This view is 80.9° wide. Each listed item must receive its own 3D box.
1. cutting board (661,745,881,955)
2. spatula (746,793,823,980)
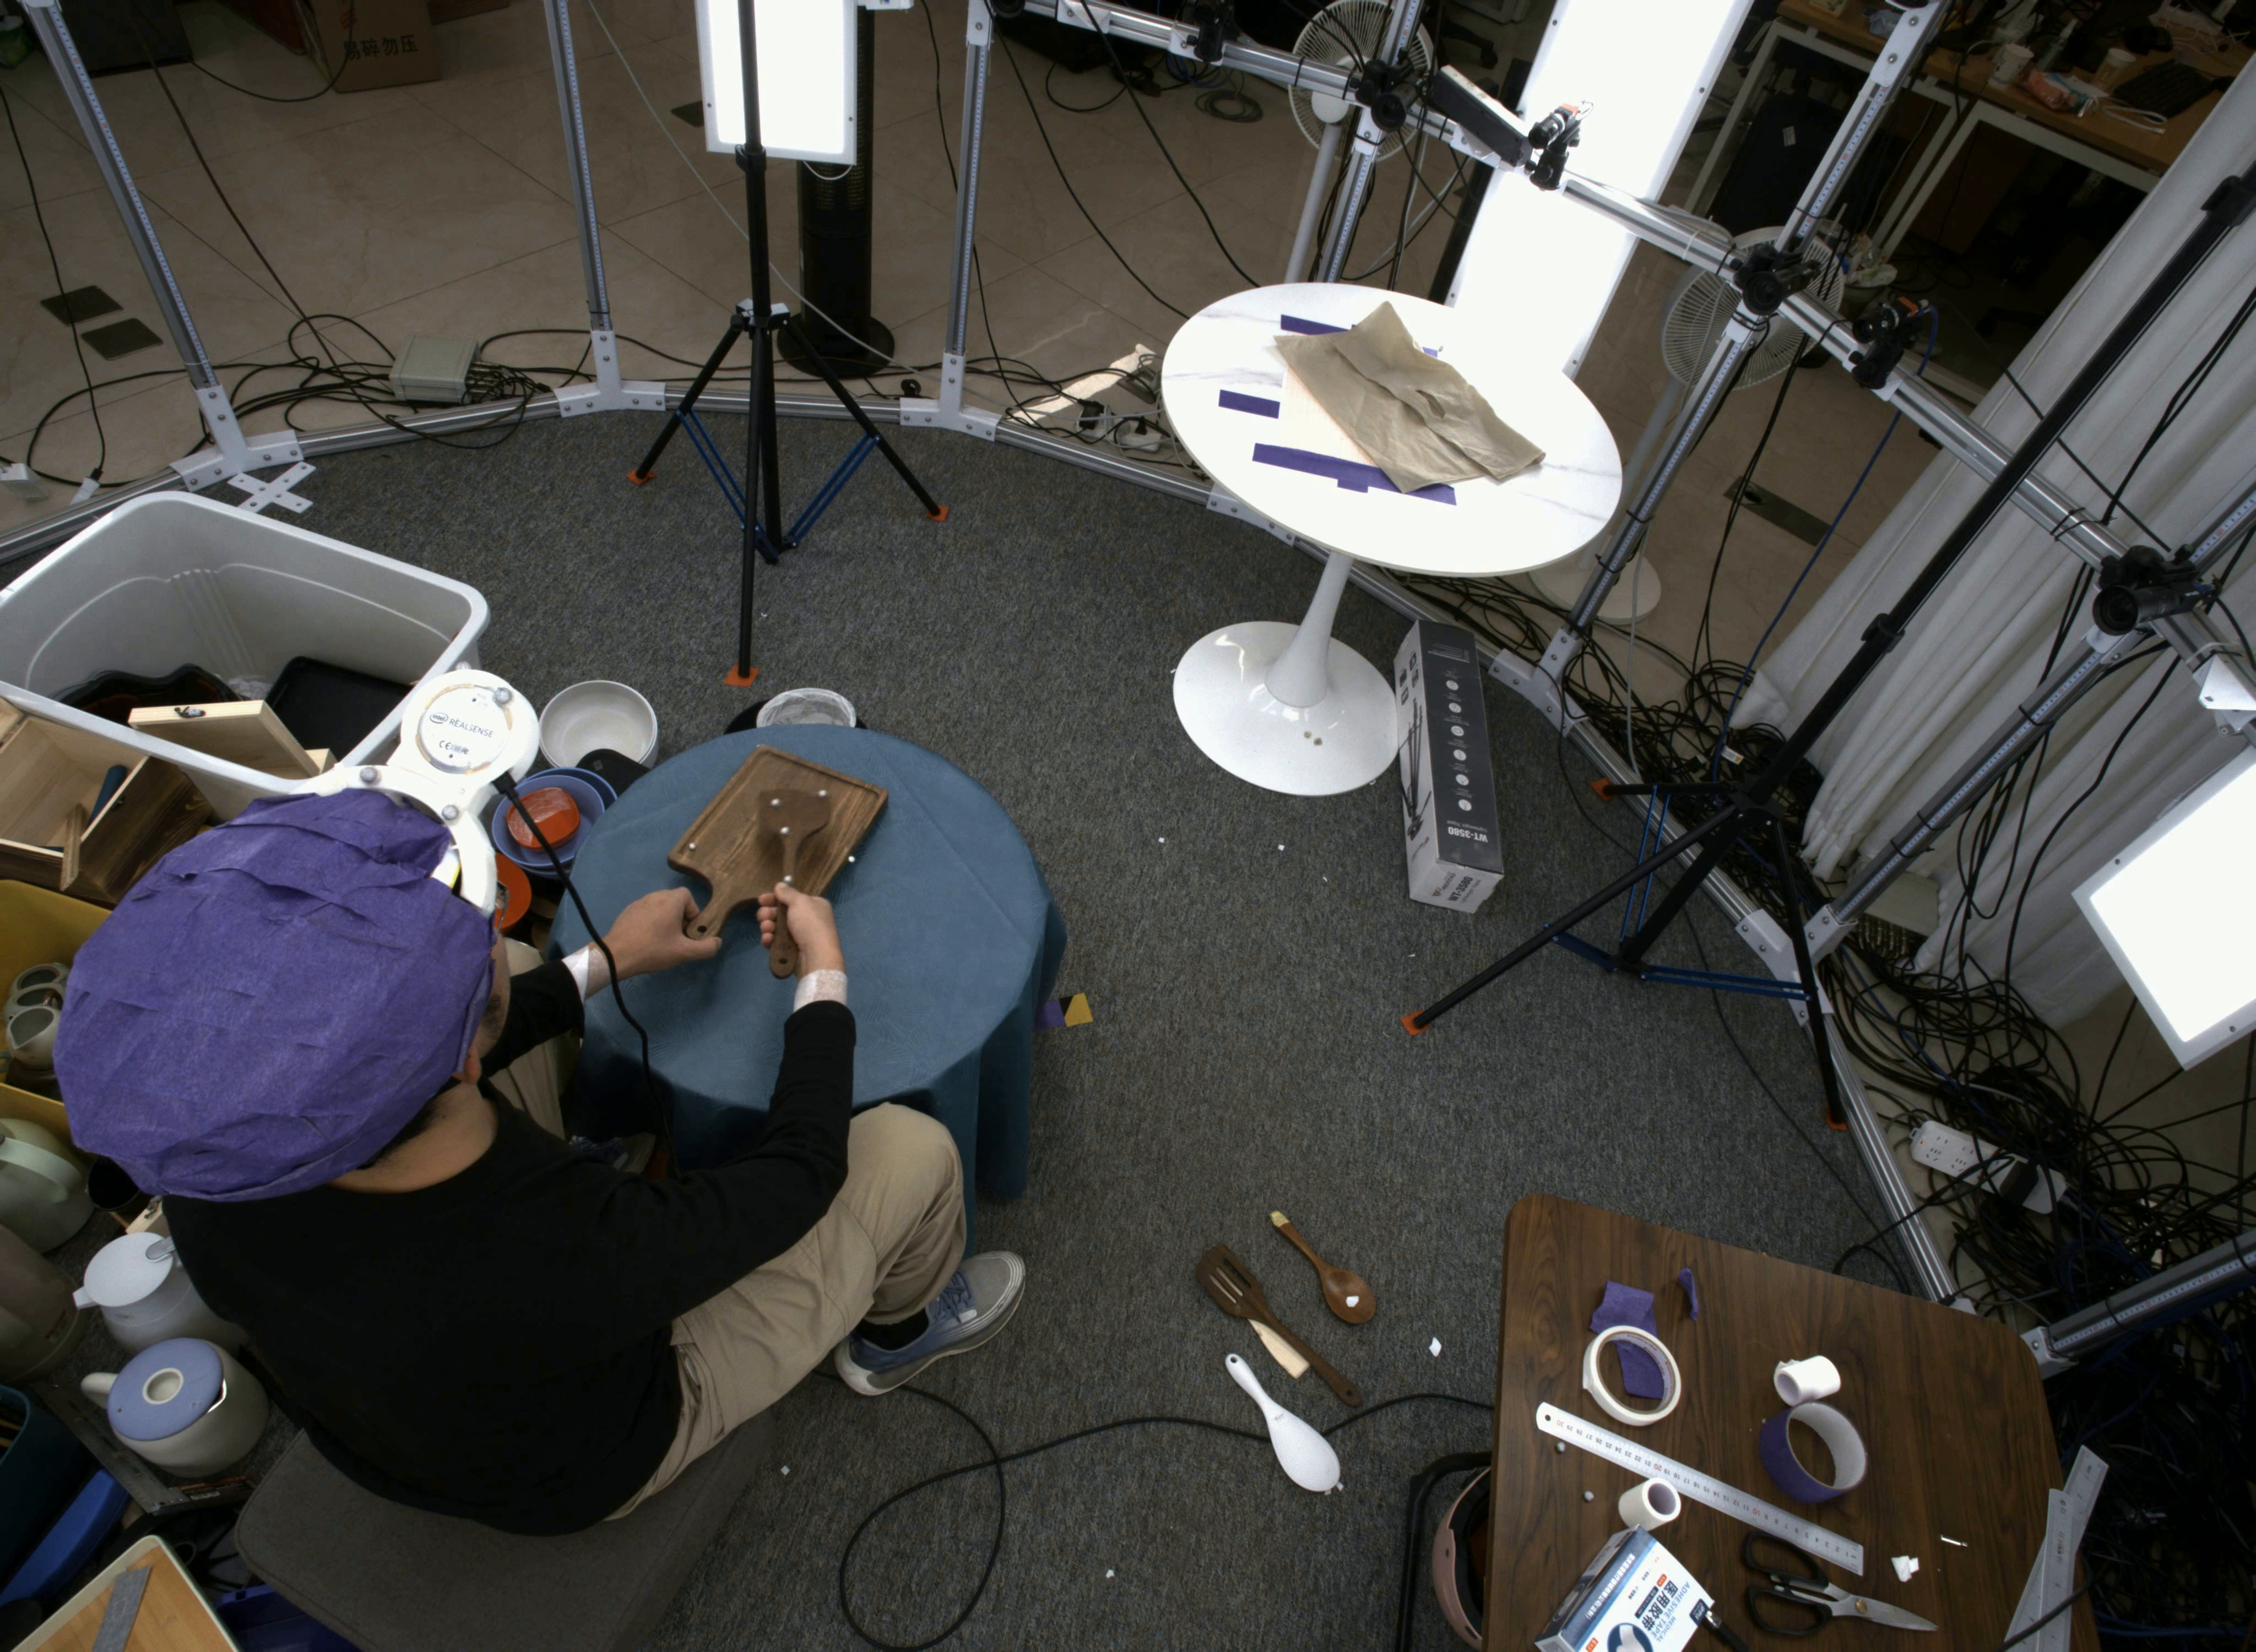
[{"bbox_3d":[-0.469,0.032,1.638,0.199,0.024,0.348,21,43,1],"label":"cutting board"},{"bbox_3d":[-0.407,0.057,1.520,0.096,0.016,0.374,4,31,-16],"label":"spatula"}]
